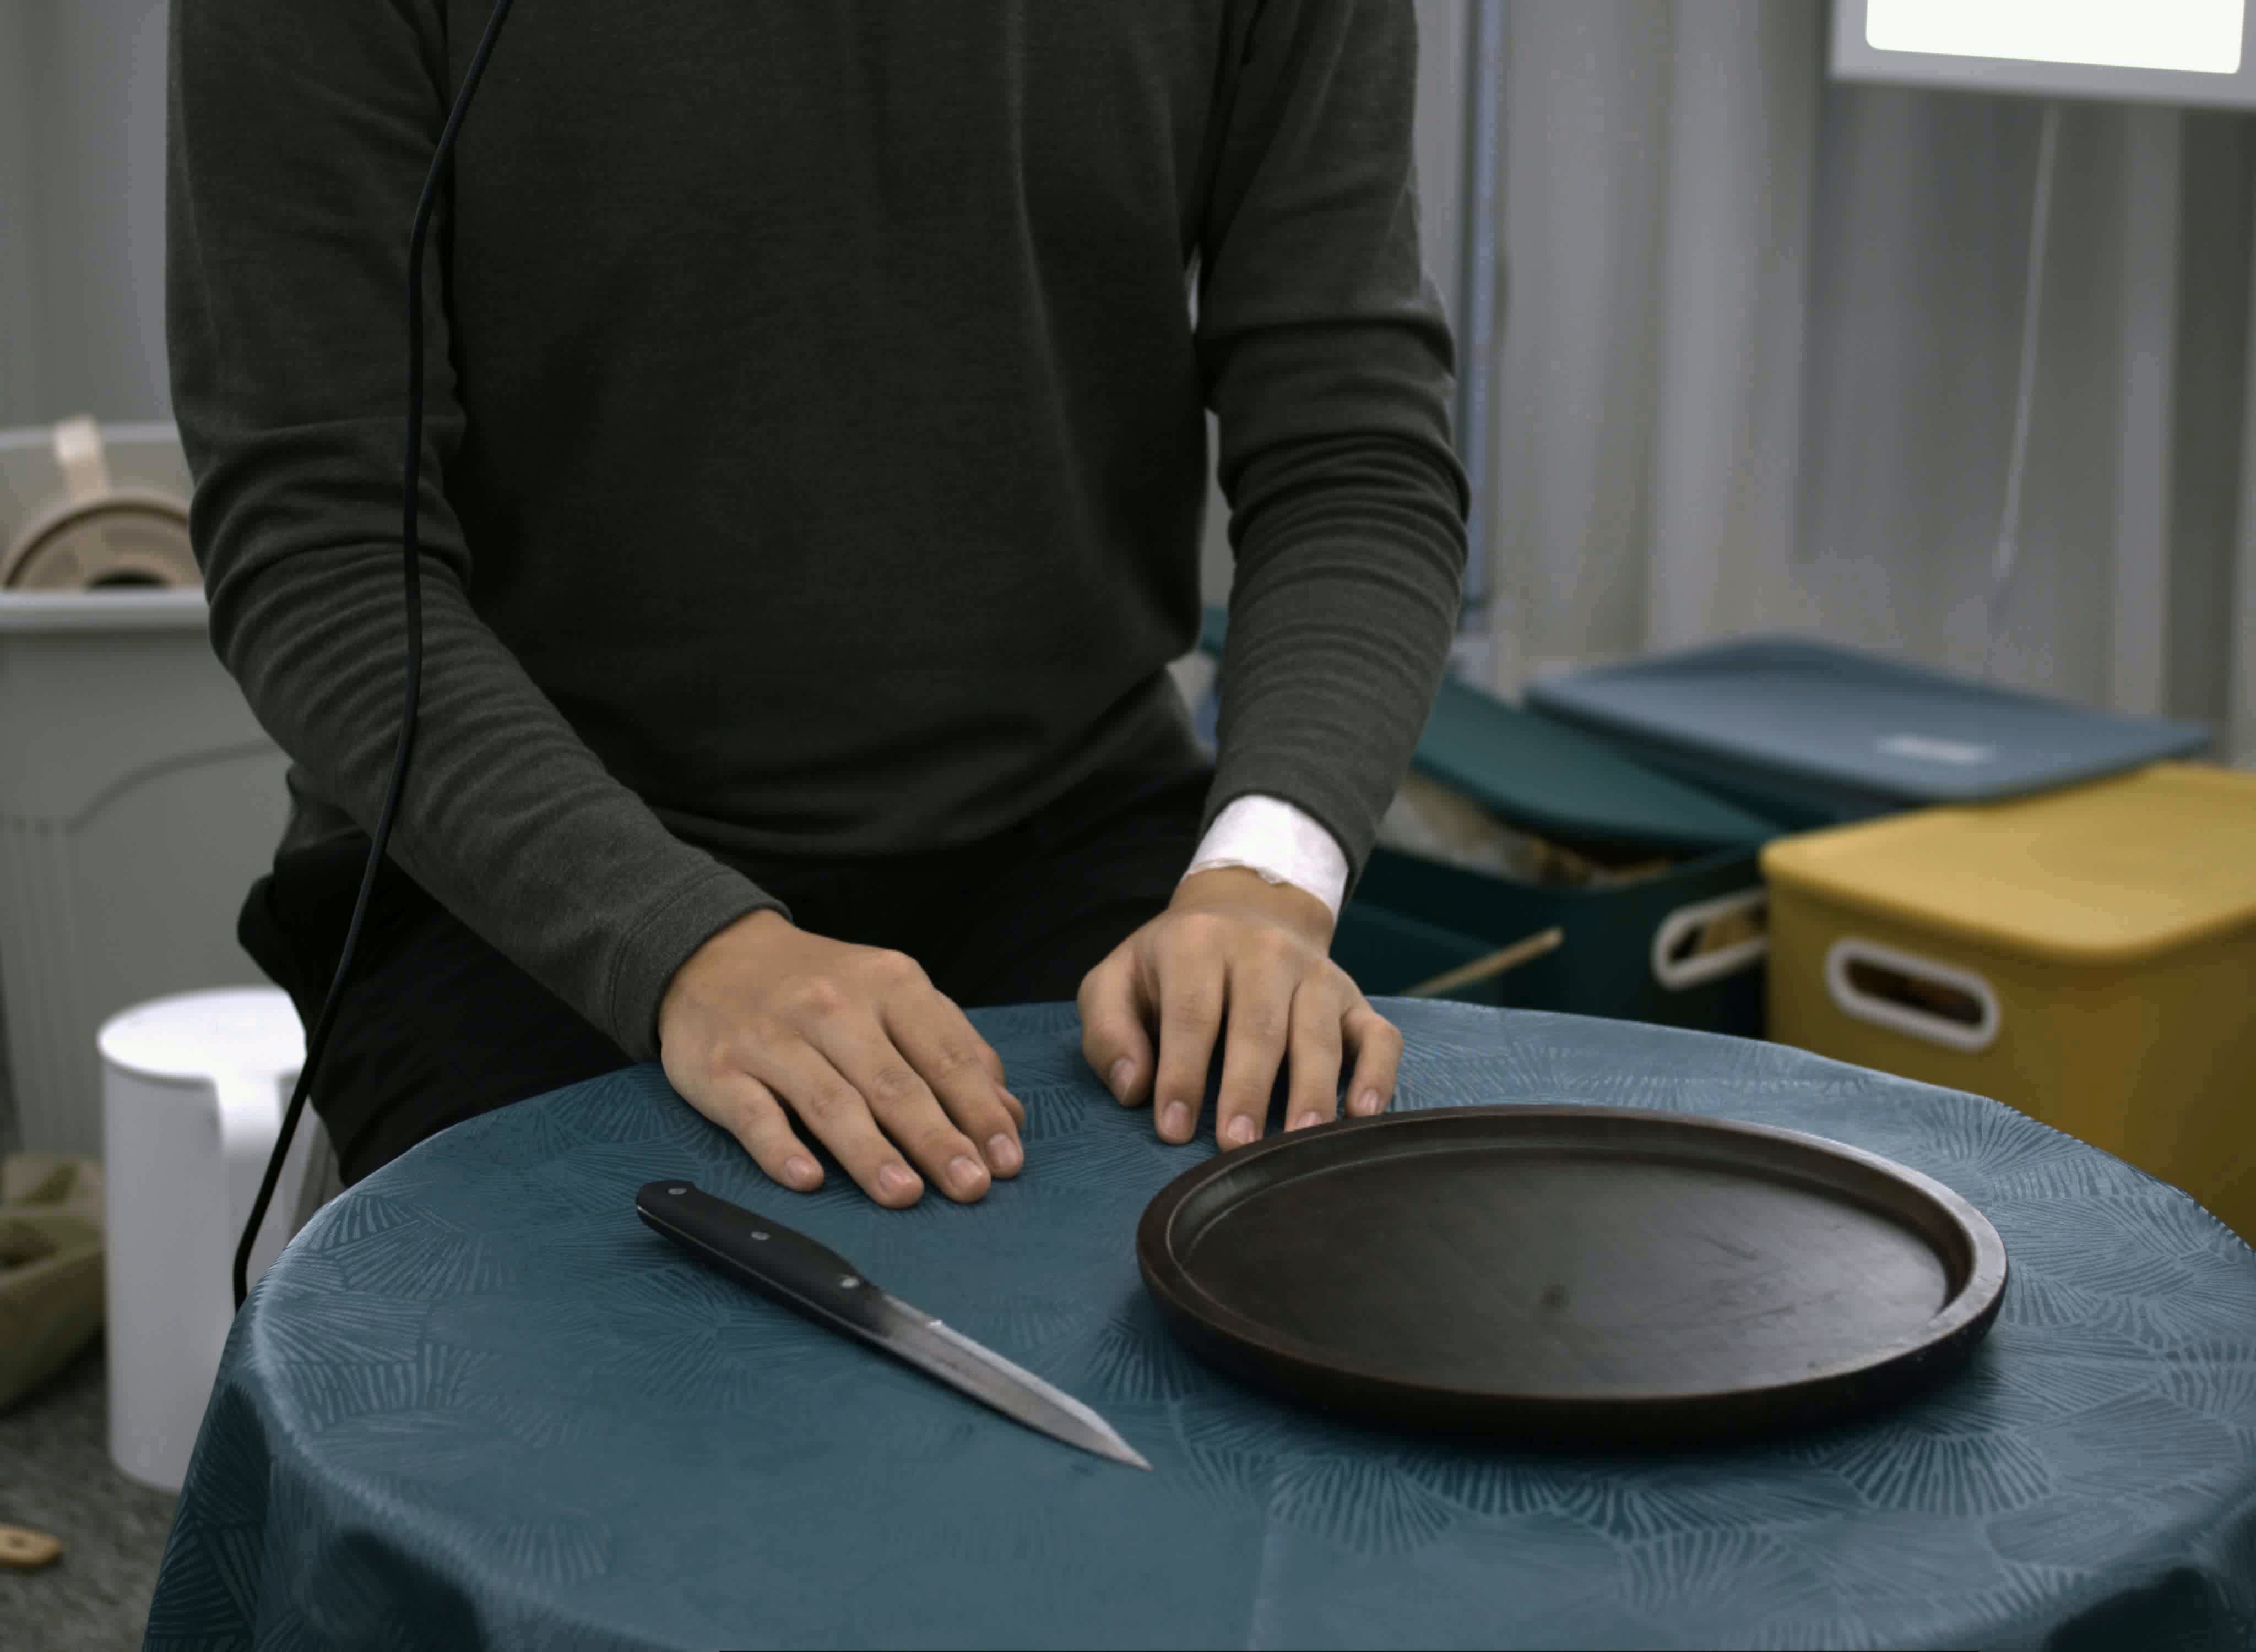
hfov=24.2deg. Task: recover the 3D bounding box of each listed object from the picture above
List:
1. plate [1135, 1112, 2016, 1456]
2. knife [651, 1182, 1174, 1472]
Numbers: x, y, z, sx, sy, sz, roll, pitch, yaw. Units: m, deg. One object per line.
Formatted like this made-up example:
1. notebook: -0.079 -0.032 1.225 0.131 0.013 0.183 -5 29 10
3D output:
1. plate: 0.129 0.129 1.526 0.254 0.029 0.253 1 16 0
2. knife: -0.066 0.143 1.491 0.024 0.016 0.235 -15 24 -37
